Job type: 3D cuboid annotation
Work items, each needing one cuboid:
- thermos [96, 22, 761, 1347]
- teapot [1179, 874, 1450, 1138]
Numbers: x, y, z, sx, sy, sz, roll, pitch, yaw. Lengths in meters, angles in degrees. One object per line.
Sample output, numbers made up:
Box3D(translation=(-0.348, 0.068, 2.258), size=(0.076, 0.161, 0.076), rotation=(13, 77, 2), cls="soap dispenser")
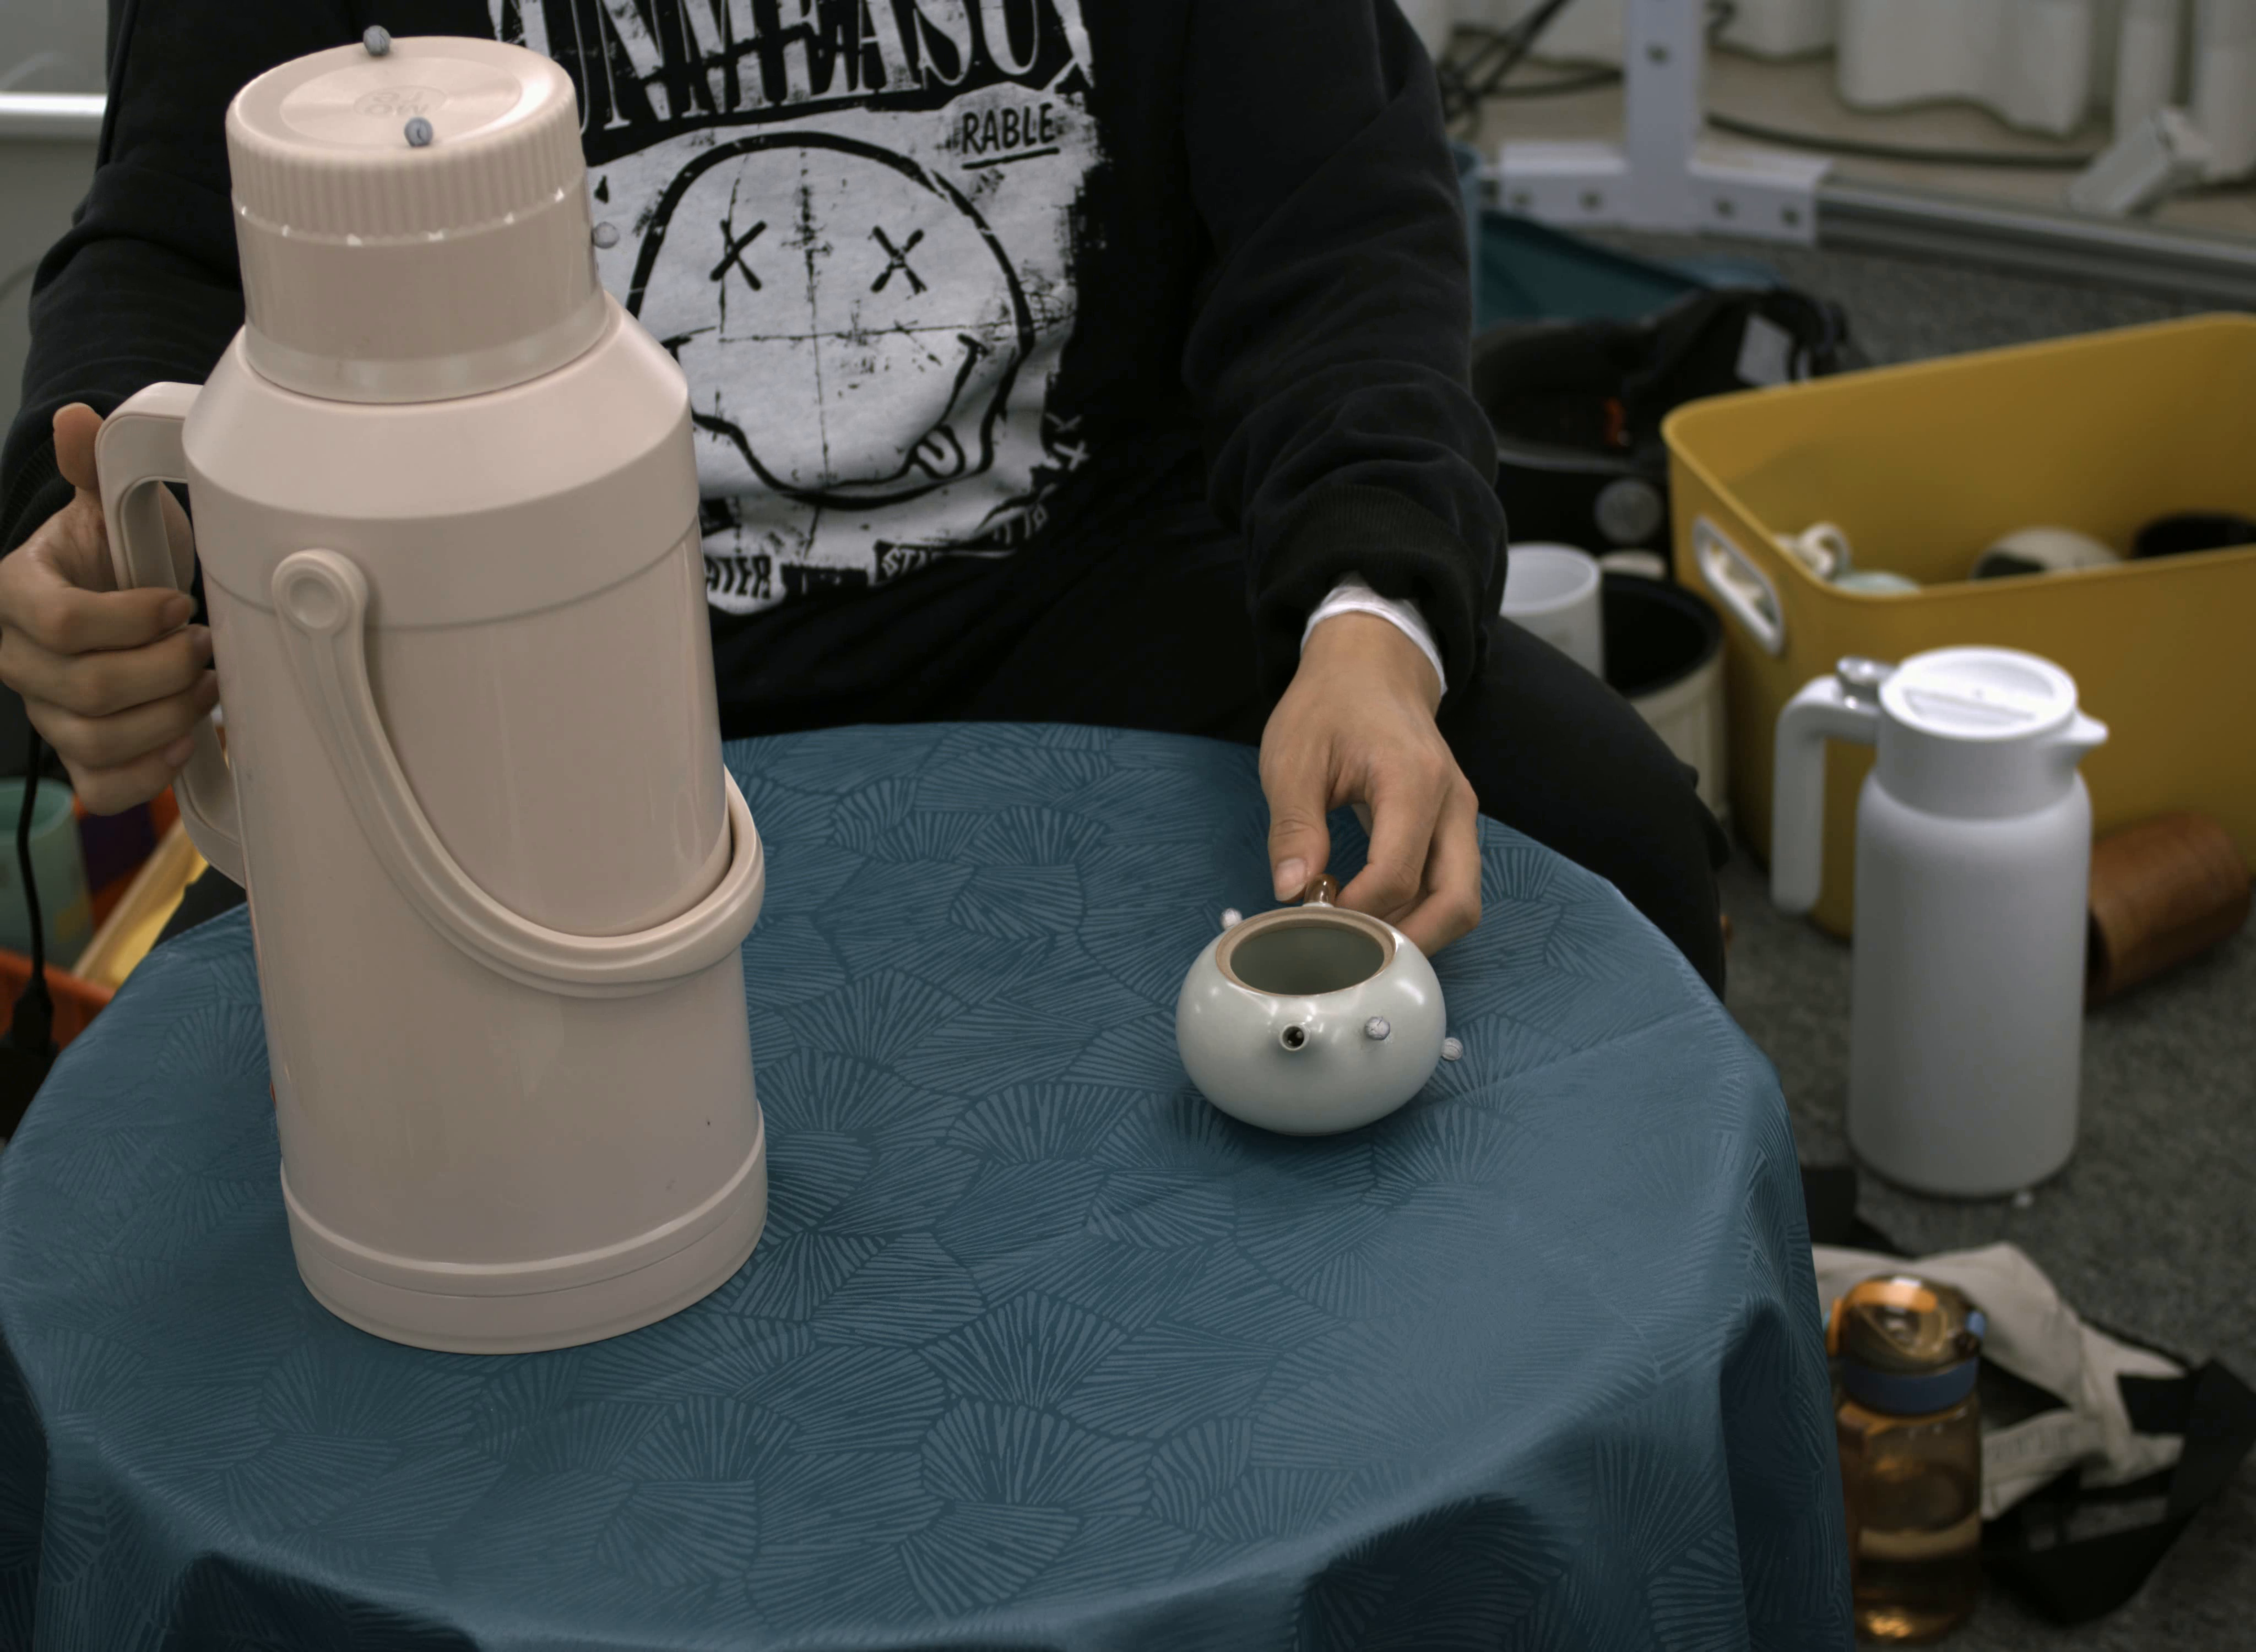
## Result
Box3D(translation=(-0.221, -0.046, 1.779), size=(0.205, 0.402, 0.178), rotation=(7, 29, 18), cls="thermos")
Box3D(translation=(0.063, 0.062, 1.904), size=(0.091, 0.059, 0.130), rotation=(-4, 27, 7), cls="teapot")
